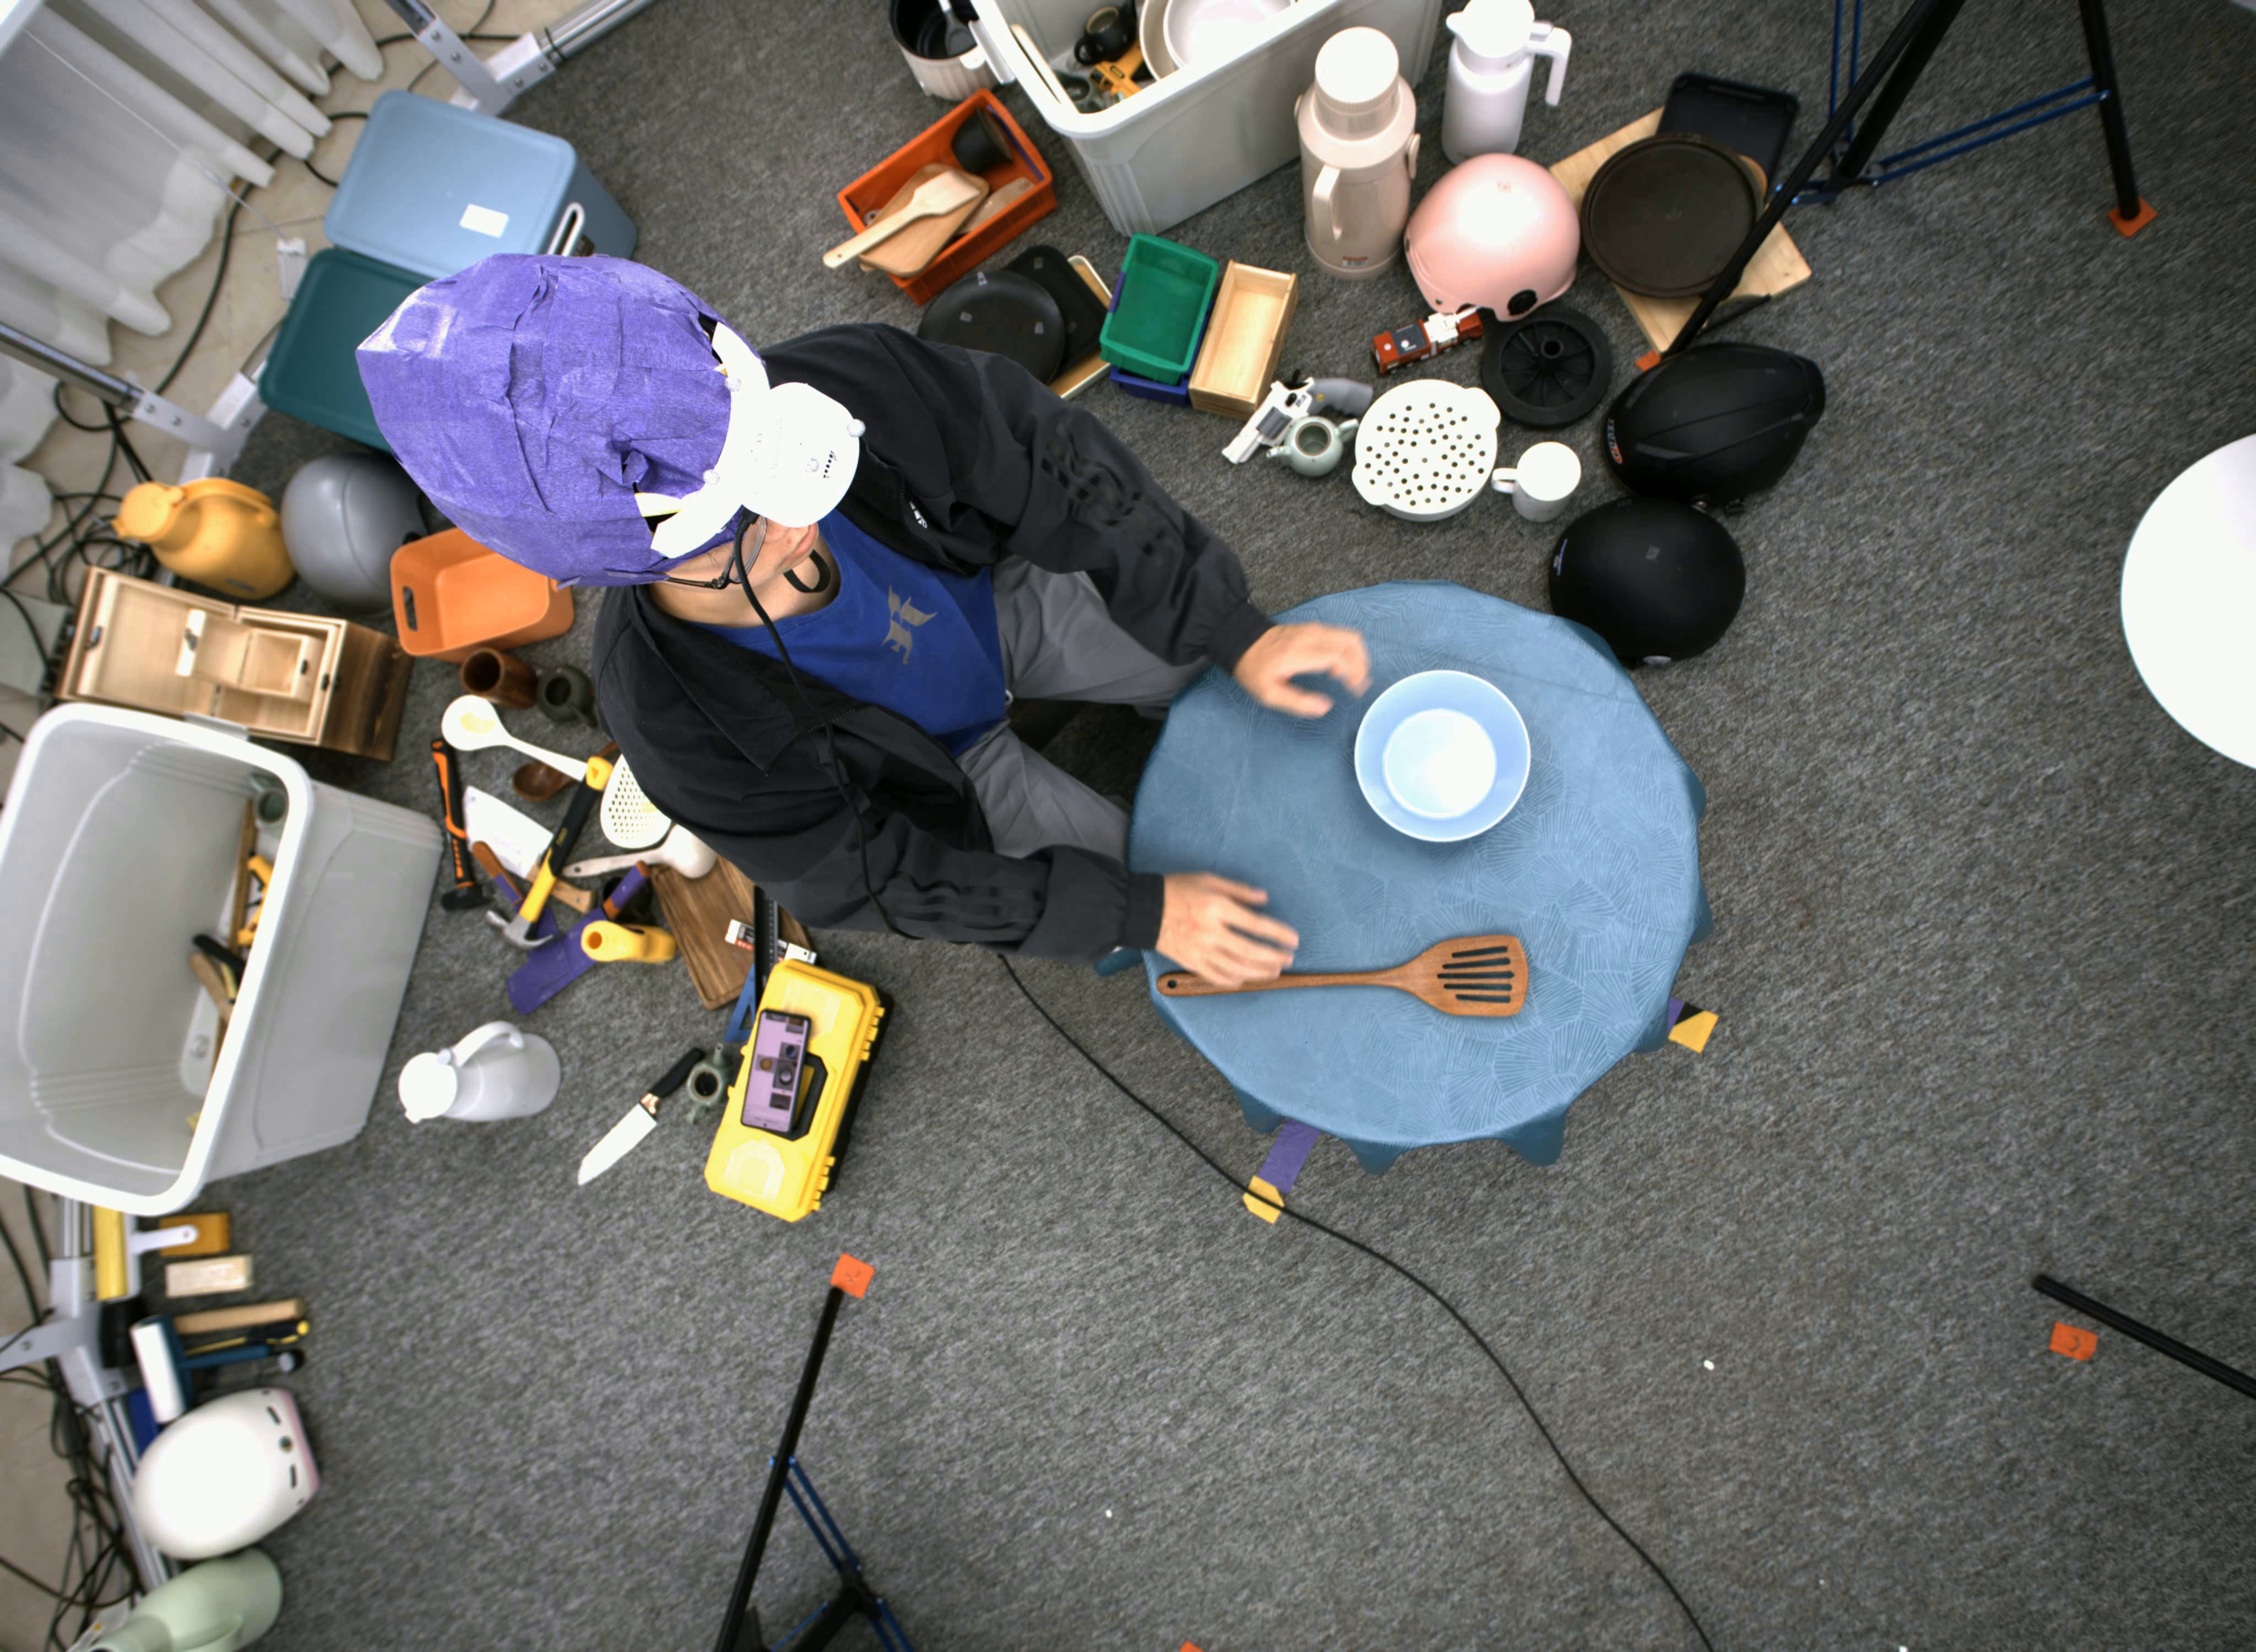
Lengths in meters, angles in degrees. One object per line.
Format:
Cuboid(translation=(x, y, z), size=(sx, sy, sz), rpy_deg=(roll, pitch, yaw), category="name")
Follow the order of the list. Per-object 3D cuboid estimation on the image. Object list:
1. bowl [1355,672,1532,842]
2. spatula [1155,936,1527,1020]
Cuboid(translation=(0.324, -0.069, 1.419), size=(0.177, 0.070, 0.175), rpy_deg=(-1, 86, 12), category="bowl")
Cuboid(translation=(0.219, 0.160, 1.453), size=(0.388, 0.024, 0.085), rpy_deg=(-2, 87, 12), category="spatula")
